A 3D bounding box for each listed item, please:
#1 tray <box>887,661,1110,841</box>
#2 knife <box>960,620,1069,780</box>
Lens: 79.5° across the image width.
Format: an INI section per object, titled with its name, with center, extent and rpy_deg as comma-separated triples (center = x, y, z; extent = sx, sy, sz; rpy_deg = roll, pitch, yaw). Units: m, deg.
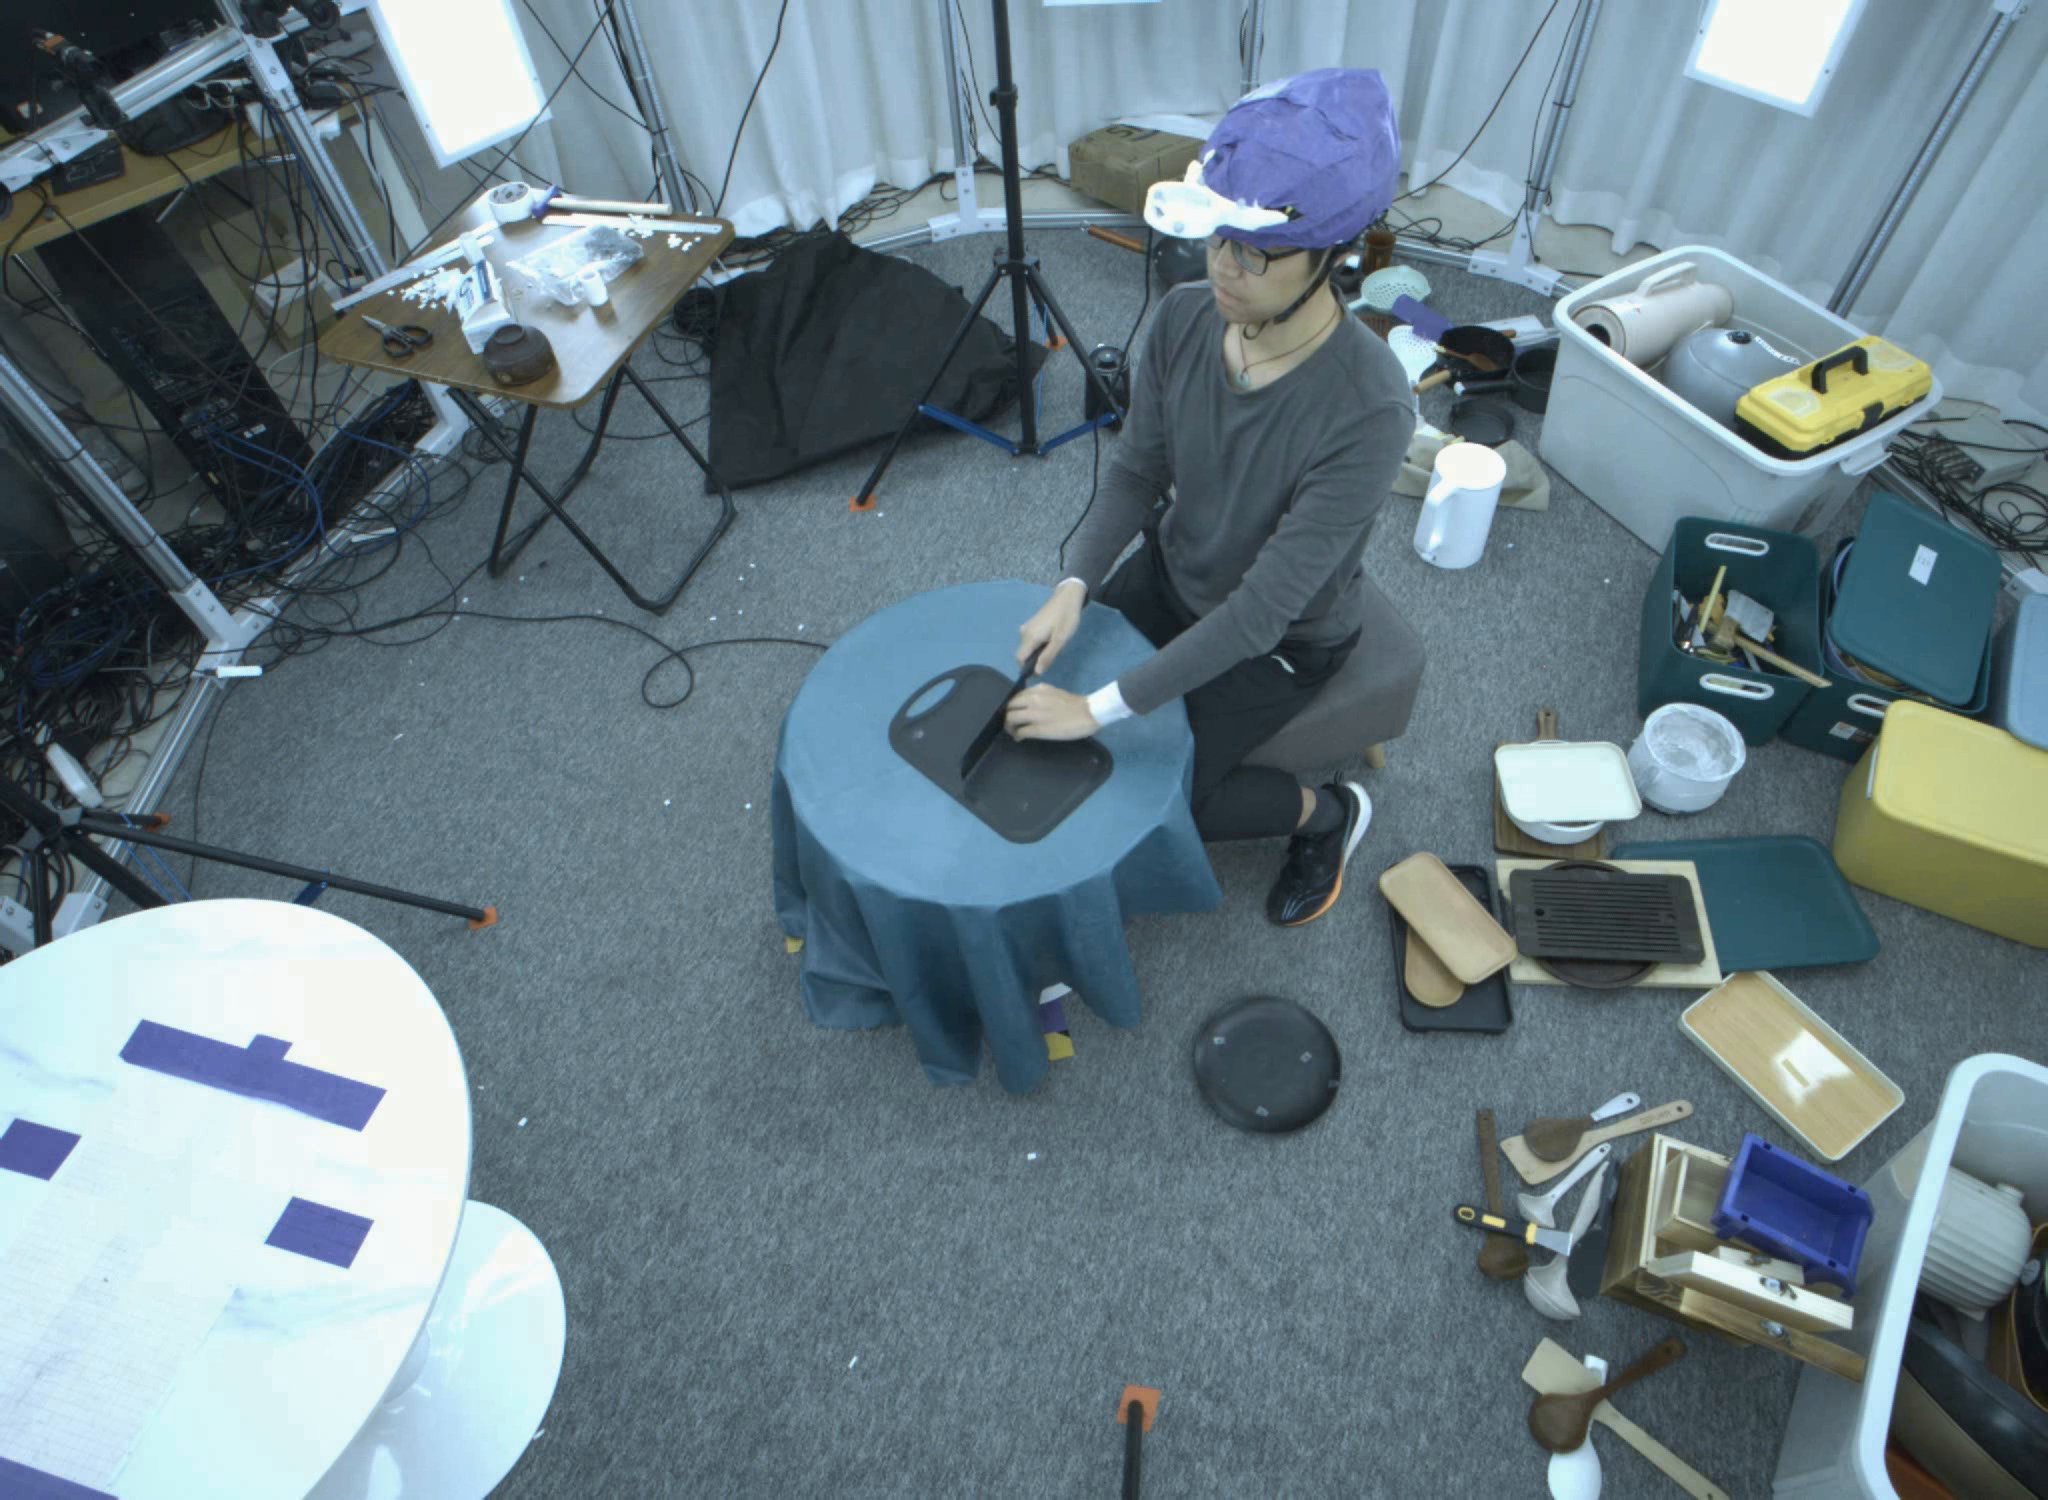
[tray]
center = -0.046, -0.009, 1.797
extent = 0.320, 0.010, 0.212
rpy_deg = 38, 65, 24
[knife]
center = -0.015, -0.080, 1.802
extent = 0.020, 0.081, 0.303
rpy_deg = 26, 63, 16
